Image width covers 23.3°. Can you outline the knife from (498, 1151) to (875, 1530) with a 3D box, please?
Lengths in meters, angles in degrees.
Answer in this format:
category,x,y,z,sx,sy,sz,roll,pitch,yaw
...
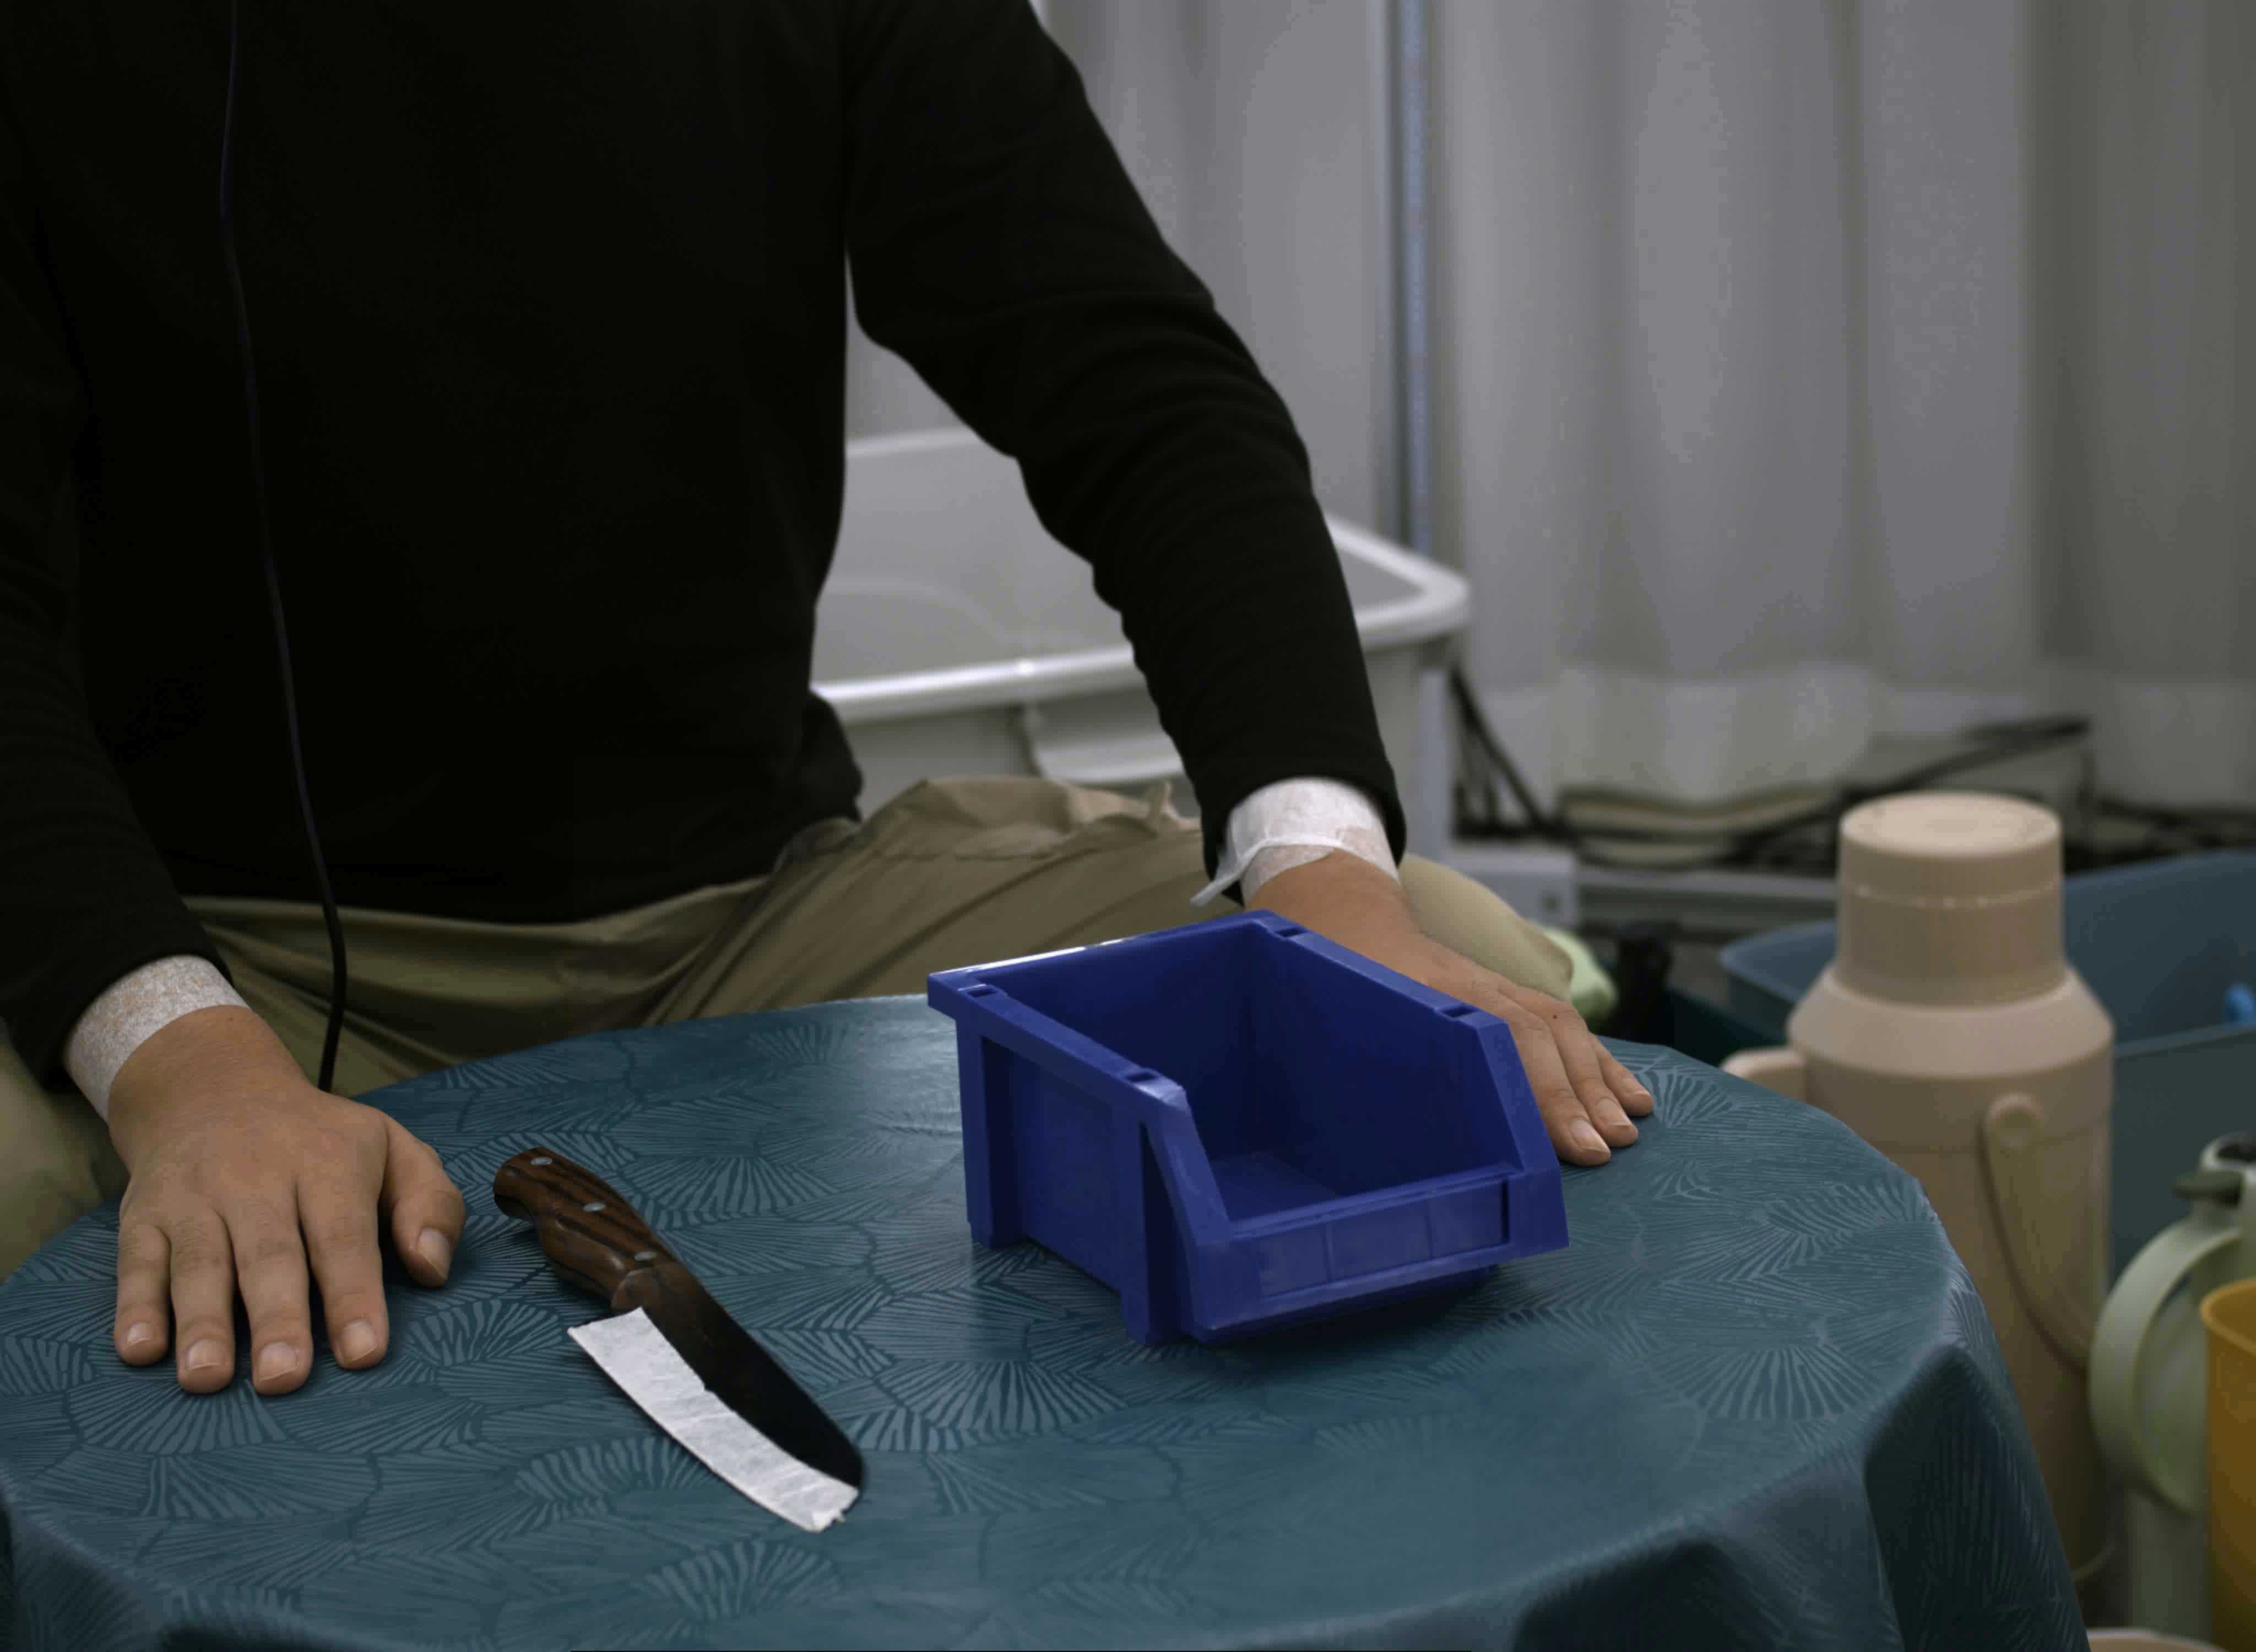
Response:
category,x,y,z,sx,sy,sz,roll,pitch,yaw
knife,-0.132,0.149,1.584,0.050,0.020,0.292,-13,20,-19

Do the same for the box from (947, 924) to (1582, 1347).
category,x,y,z,sx,sy,sz,roll,pitch,yaw
box,0.040,0.093,1.628,0.124,0.081,0.180,-9,13,-24
